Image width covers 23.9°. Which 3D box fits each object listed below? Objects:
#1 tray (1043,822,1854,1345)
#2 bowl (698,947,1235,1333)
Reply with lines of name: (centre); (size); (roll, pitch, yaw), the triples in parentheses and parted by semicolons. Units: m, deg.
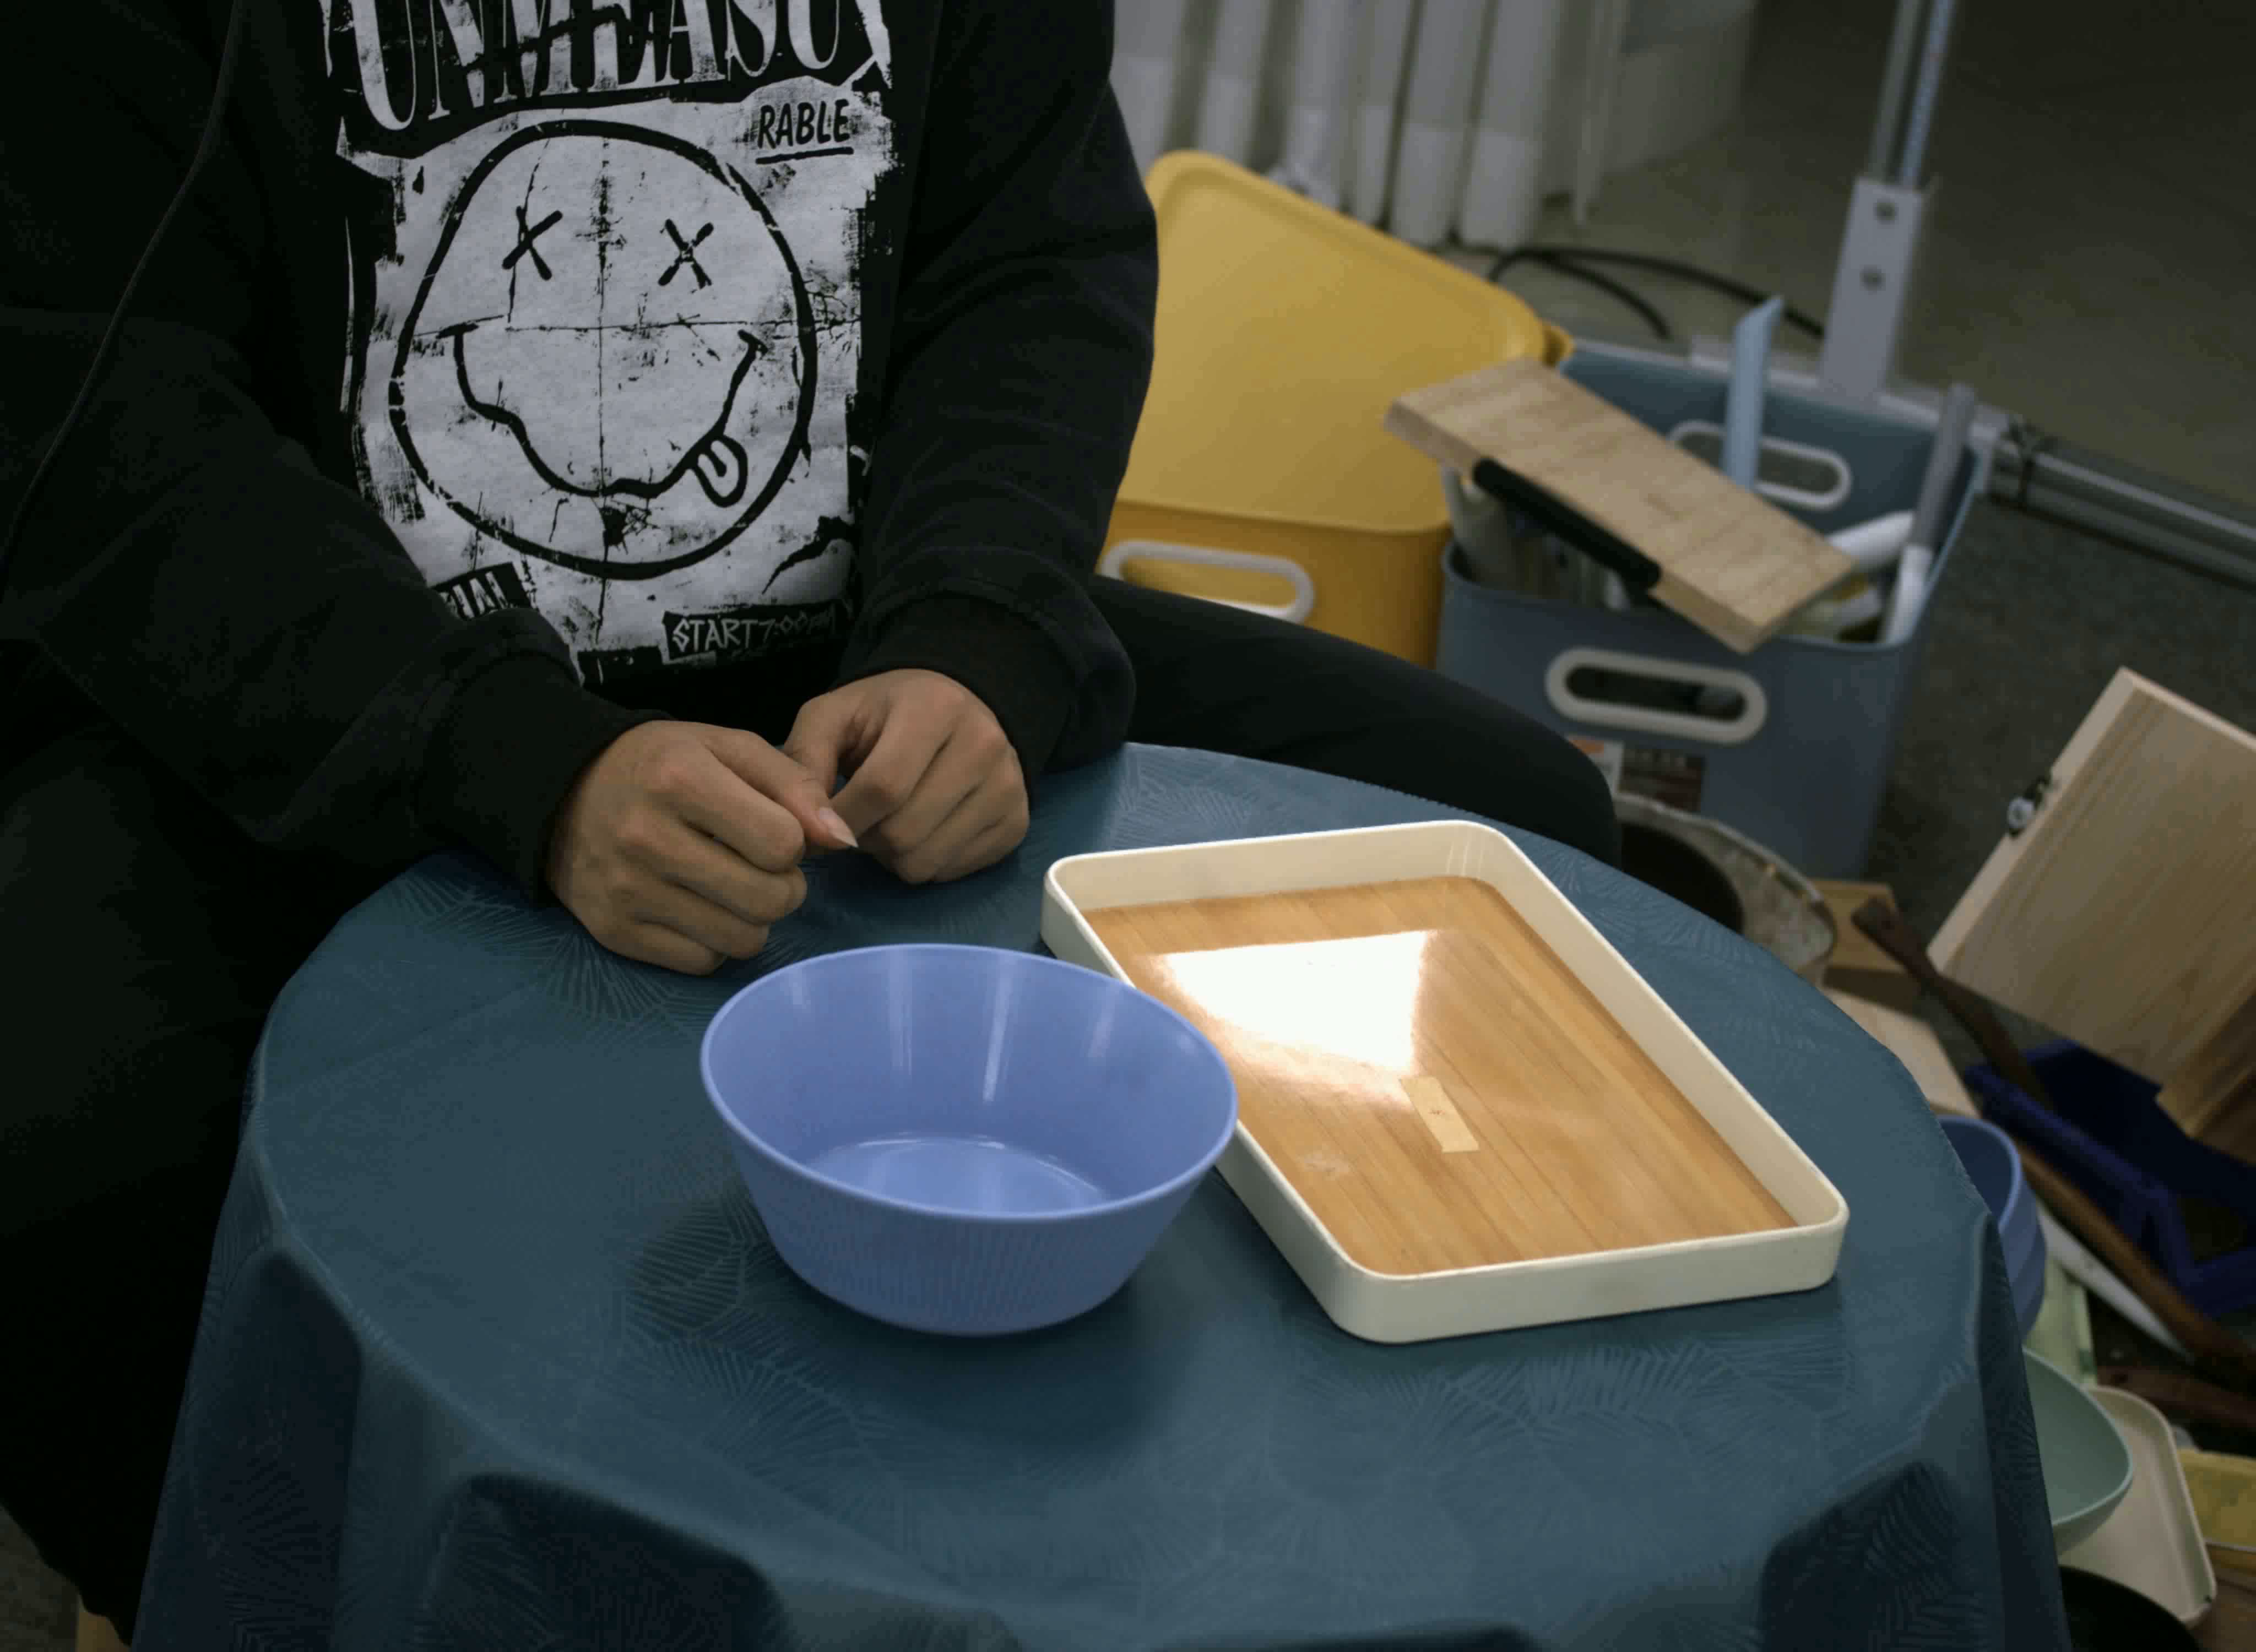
tray: (0.106, 0.085, 1.873); (0.190, 0.027, 0.303); (-5, 29, -22)
bowl: (-0.056, 0.108, 1.739); (0.175, 0.070, 0.177); (6, 26, -3)
